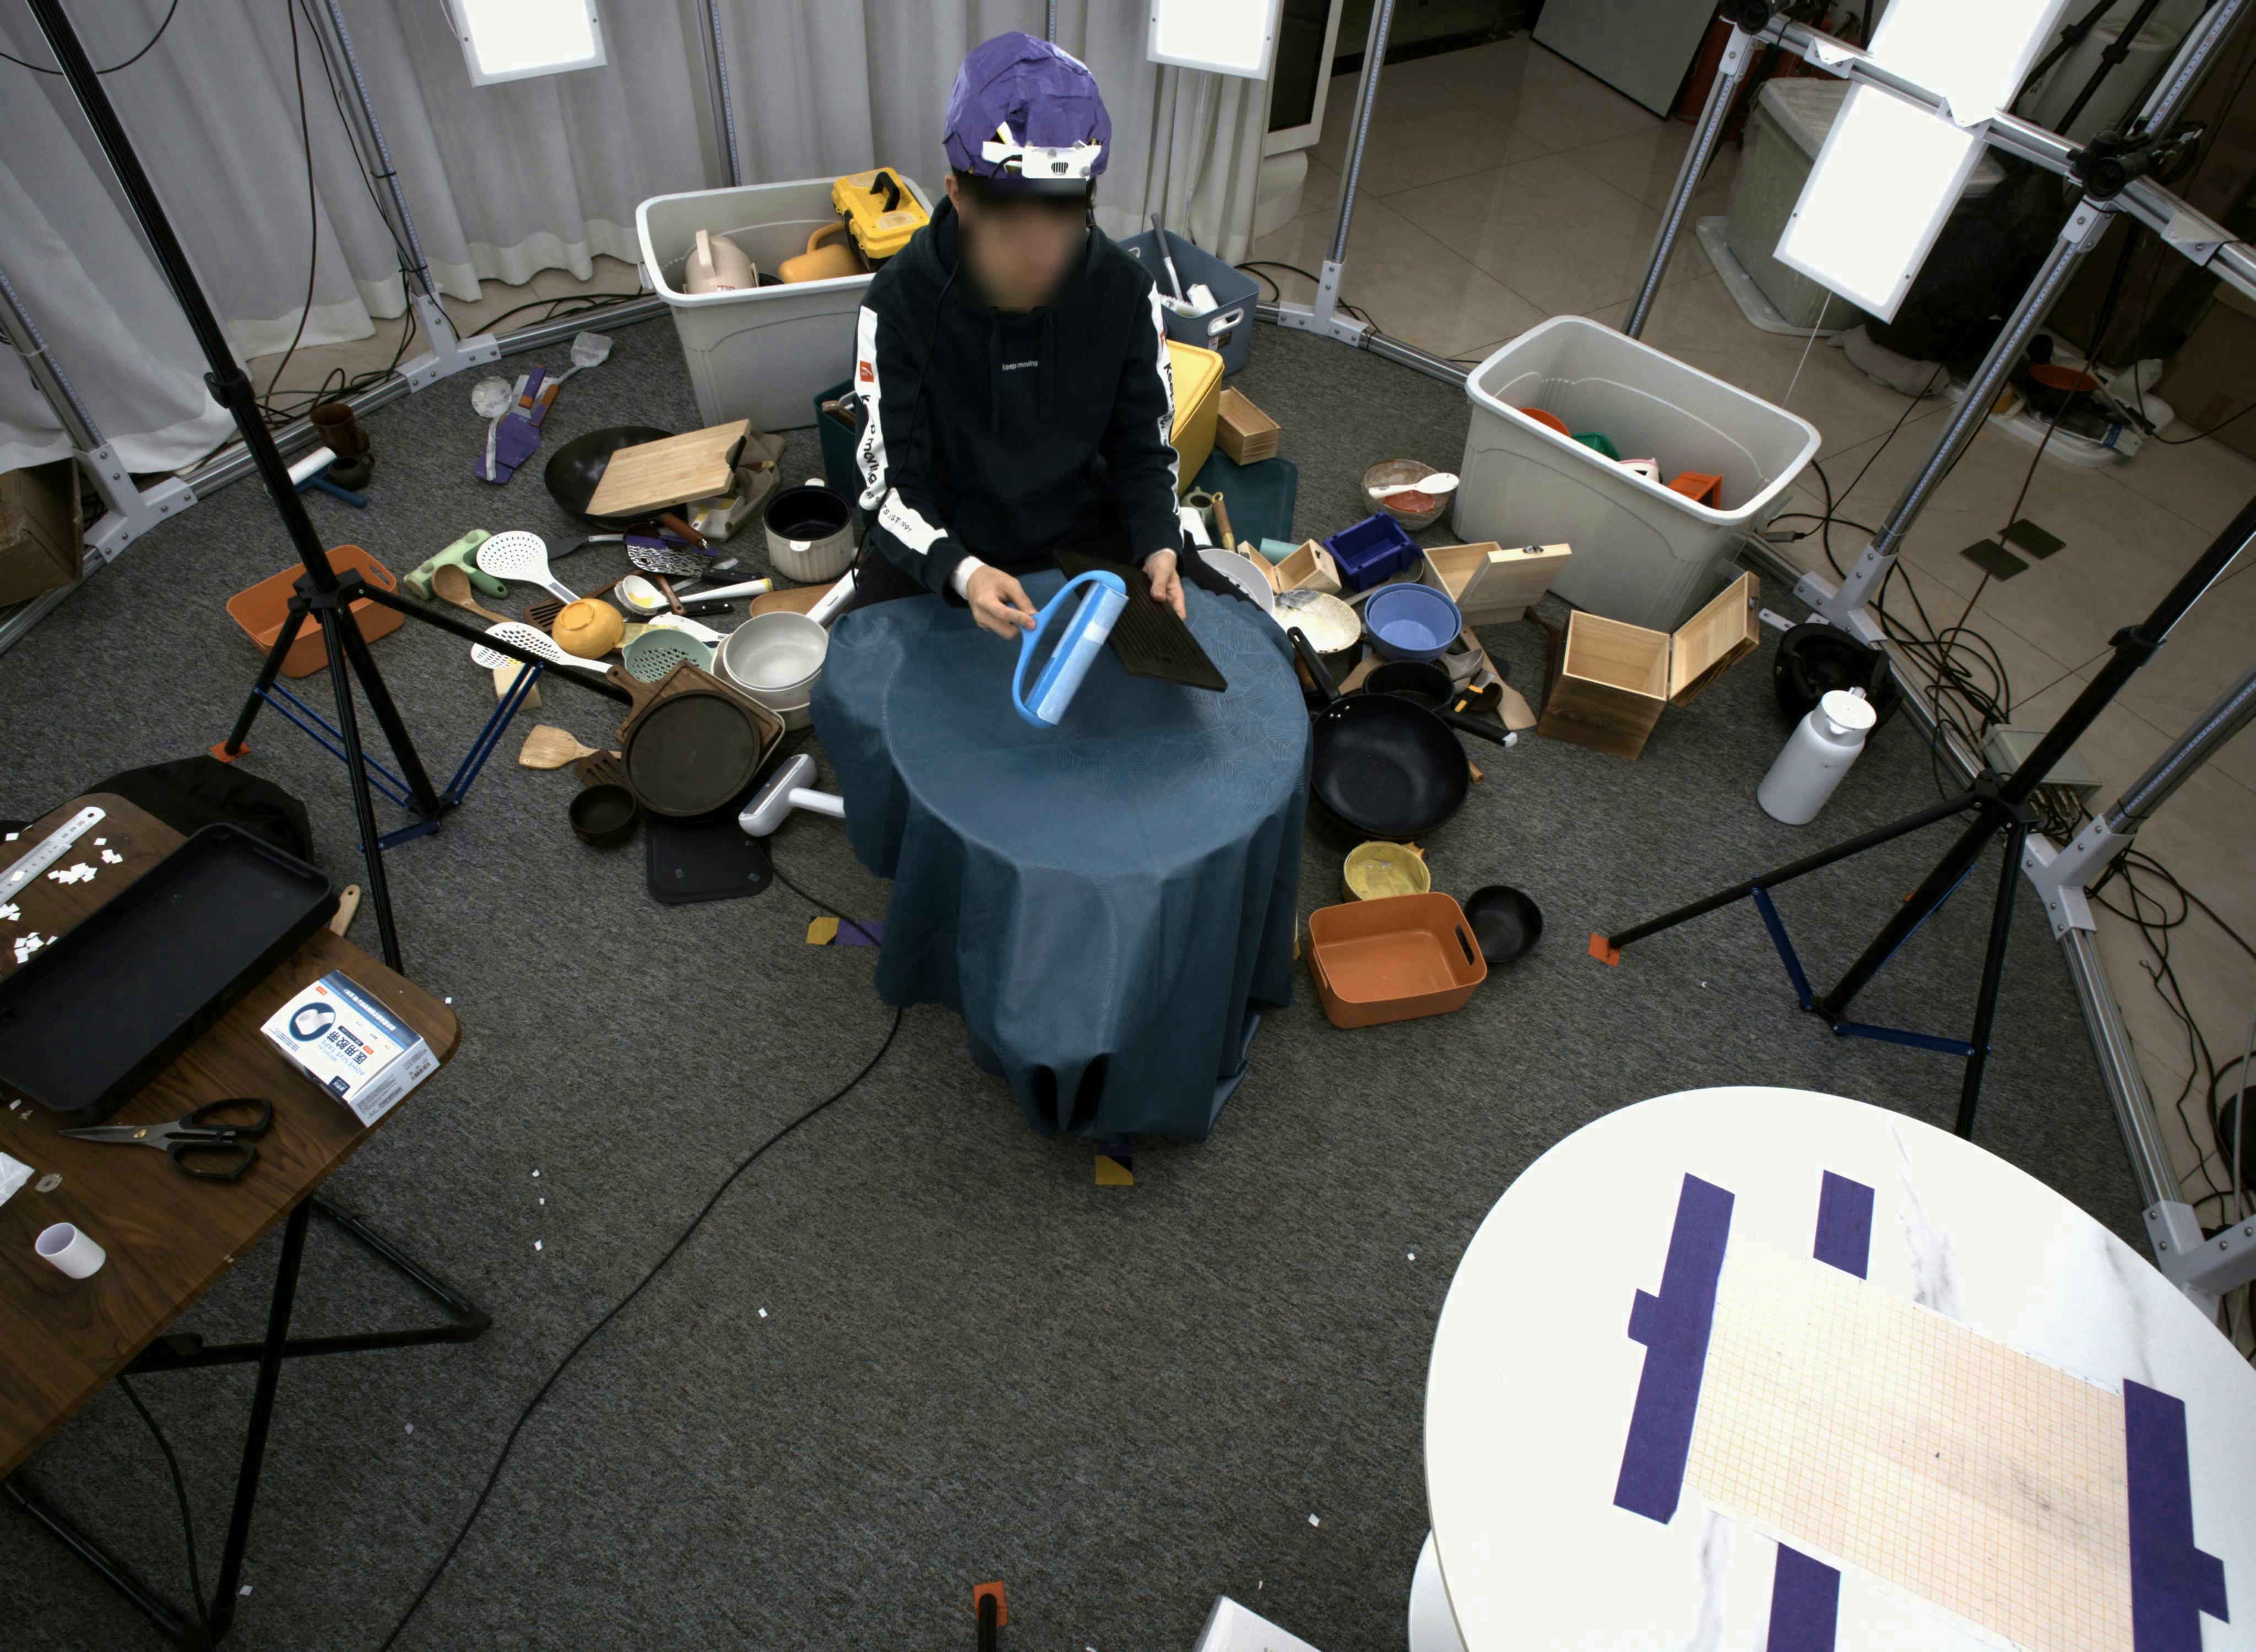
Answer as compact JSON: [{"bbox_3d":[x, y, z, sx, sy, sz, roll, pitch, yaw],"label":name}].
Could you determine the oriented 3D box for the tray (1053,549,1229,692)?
[{"bbox_3d":[0.013,-0.289,1.810,0.169,0.018,0.313,7,37,-33],"label":"tray"}]

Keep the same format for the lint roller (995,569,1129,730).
[{"bbox_3d":[-0.118,-0.259,1.719,0.182,0.067,0.228,30,97,20],"label":"lint roller"}]
